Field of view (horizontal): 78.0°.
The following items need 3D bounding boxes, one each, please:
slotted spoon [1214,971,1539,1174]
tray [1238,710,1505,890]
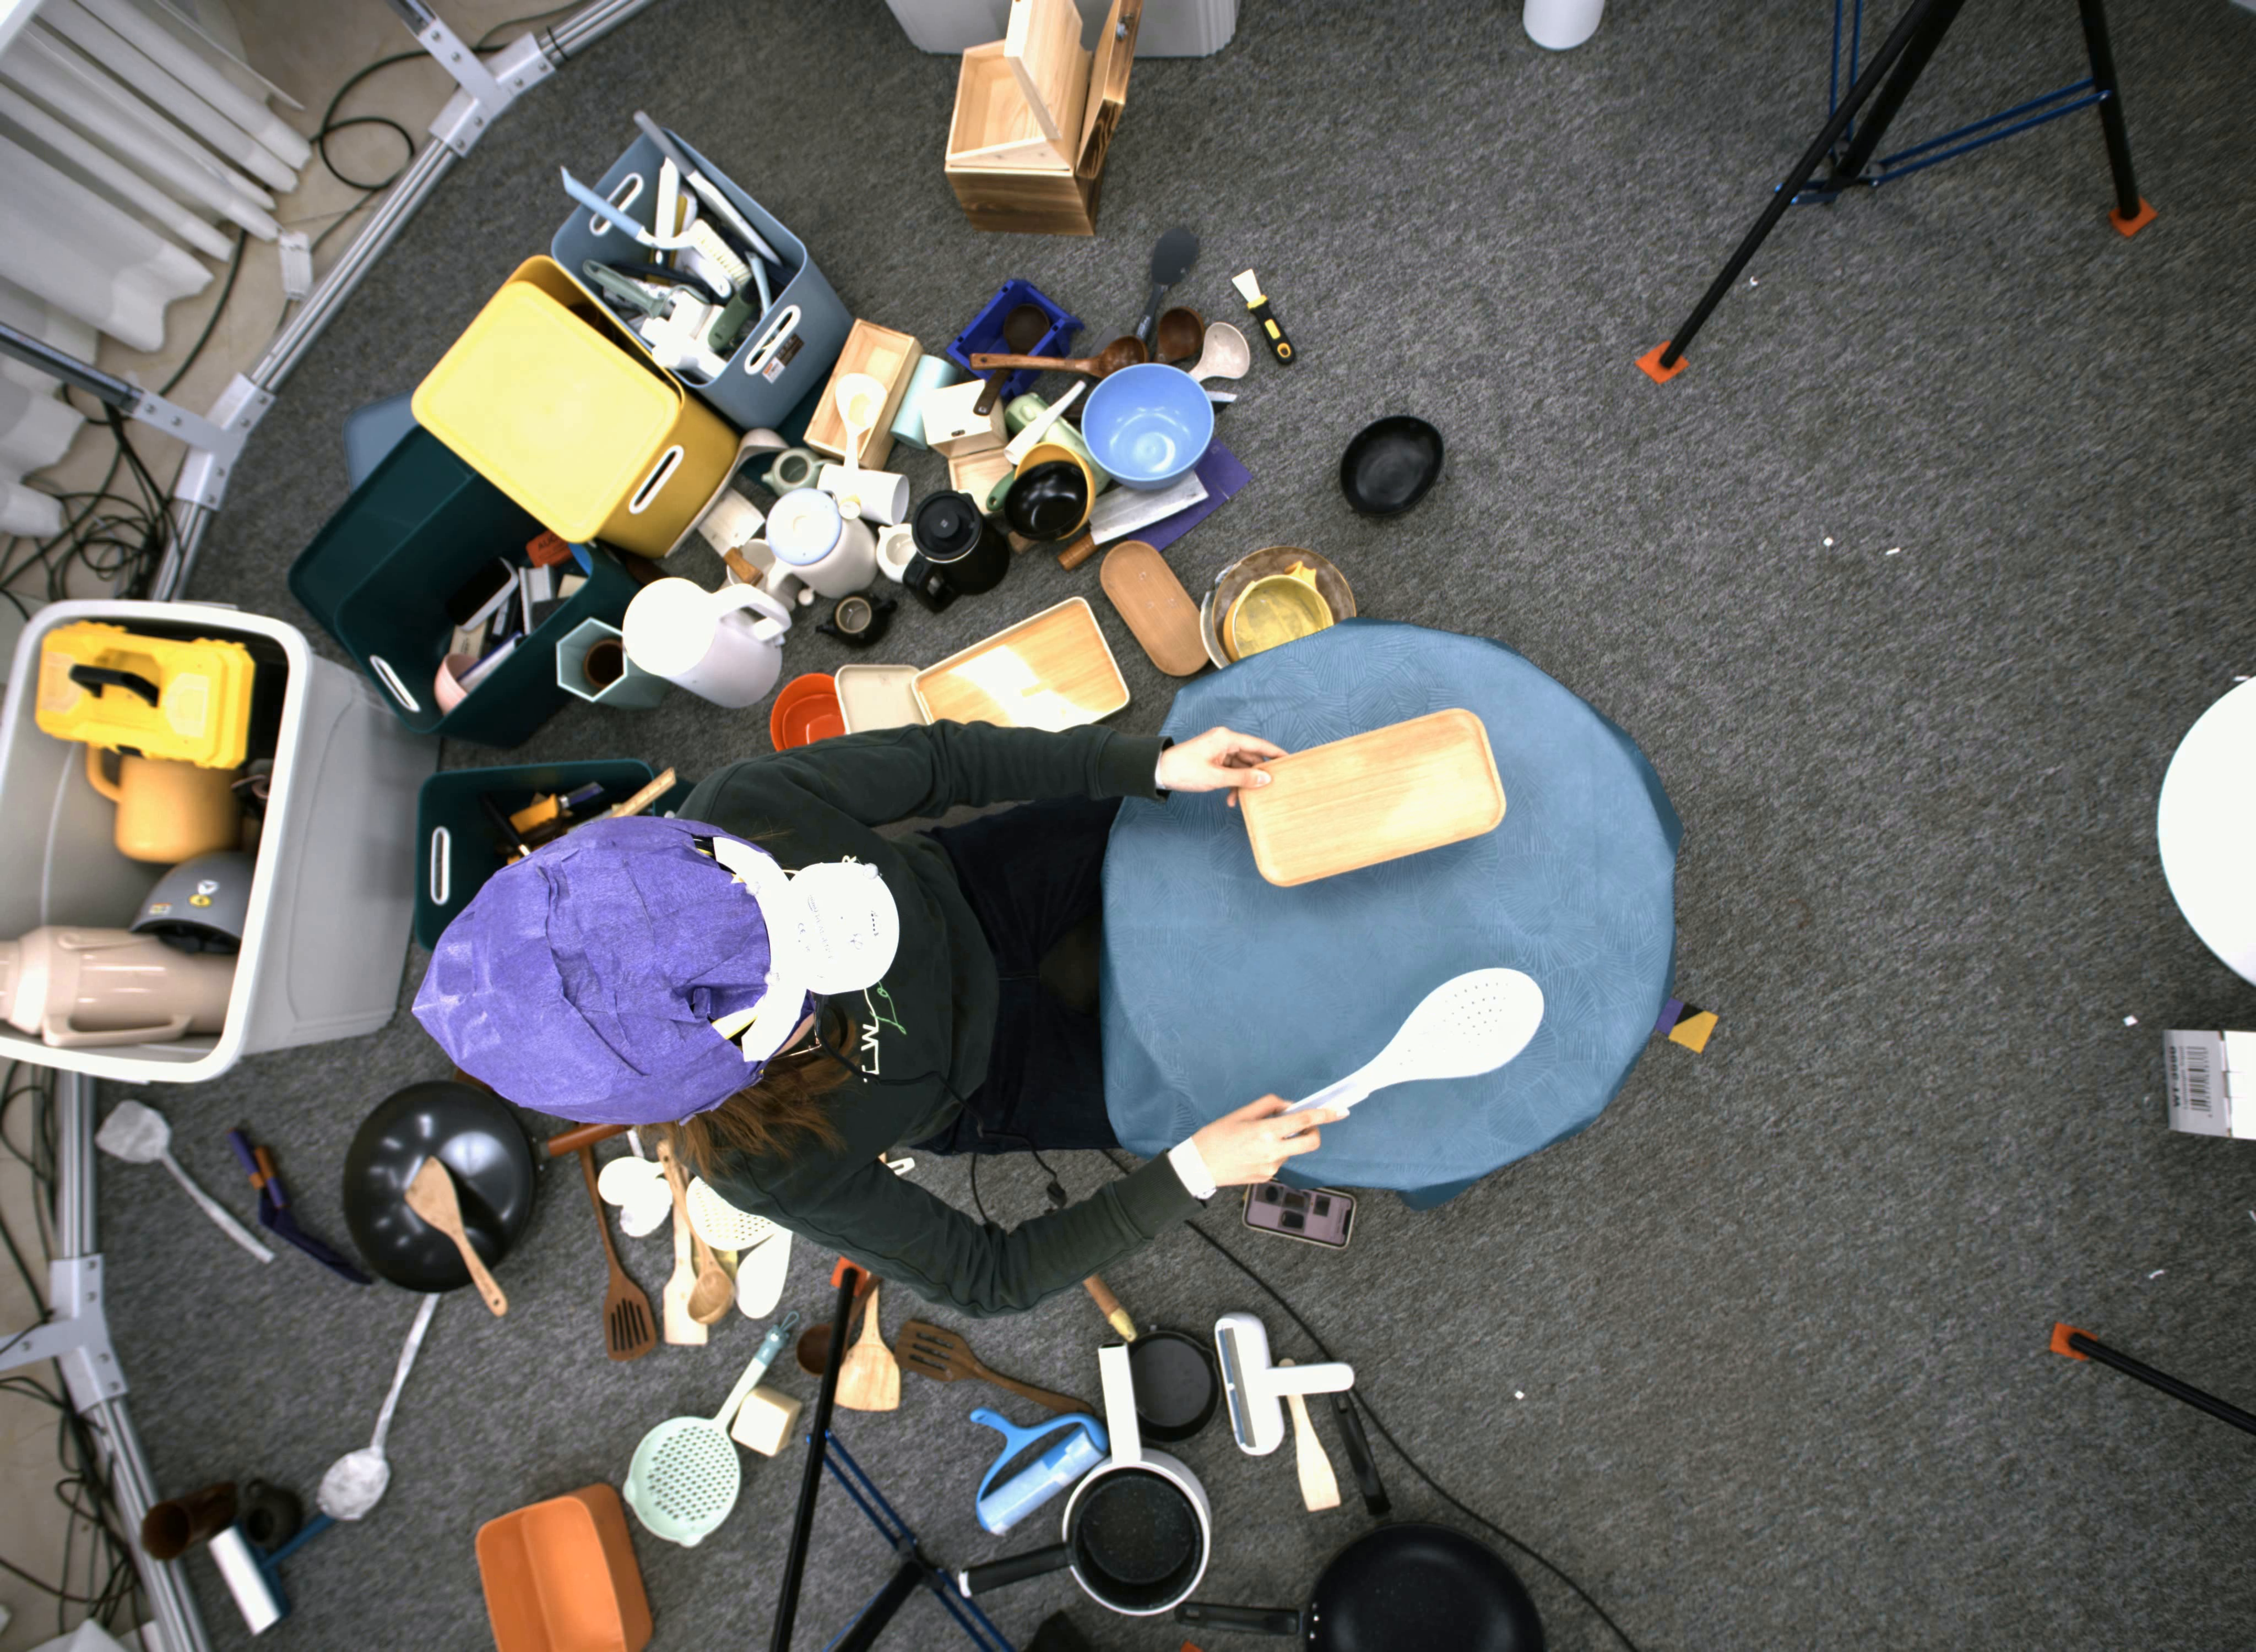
[{"bbox_3d":[0.236,0.239,1.324,0.351,0.134,0.046,-26,106,5],"label":"slotted spoon"},{"bbox_3d":[0.239,-0.026,1.365,0.252,0.023,0.130,-16,85,11],"label":"tray"}]
